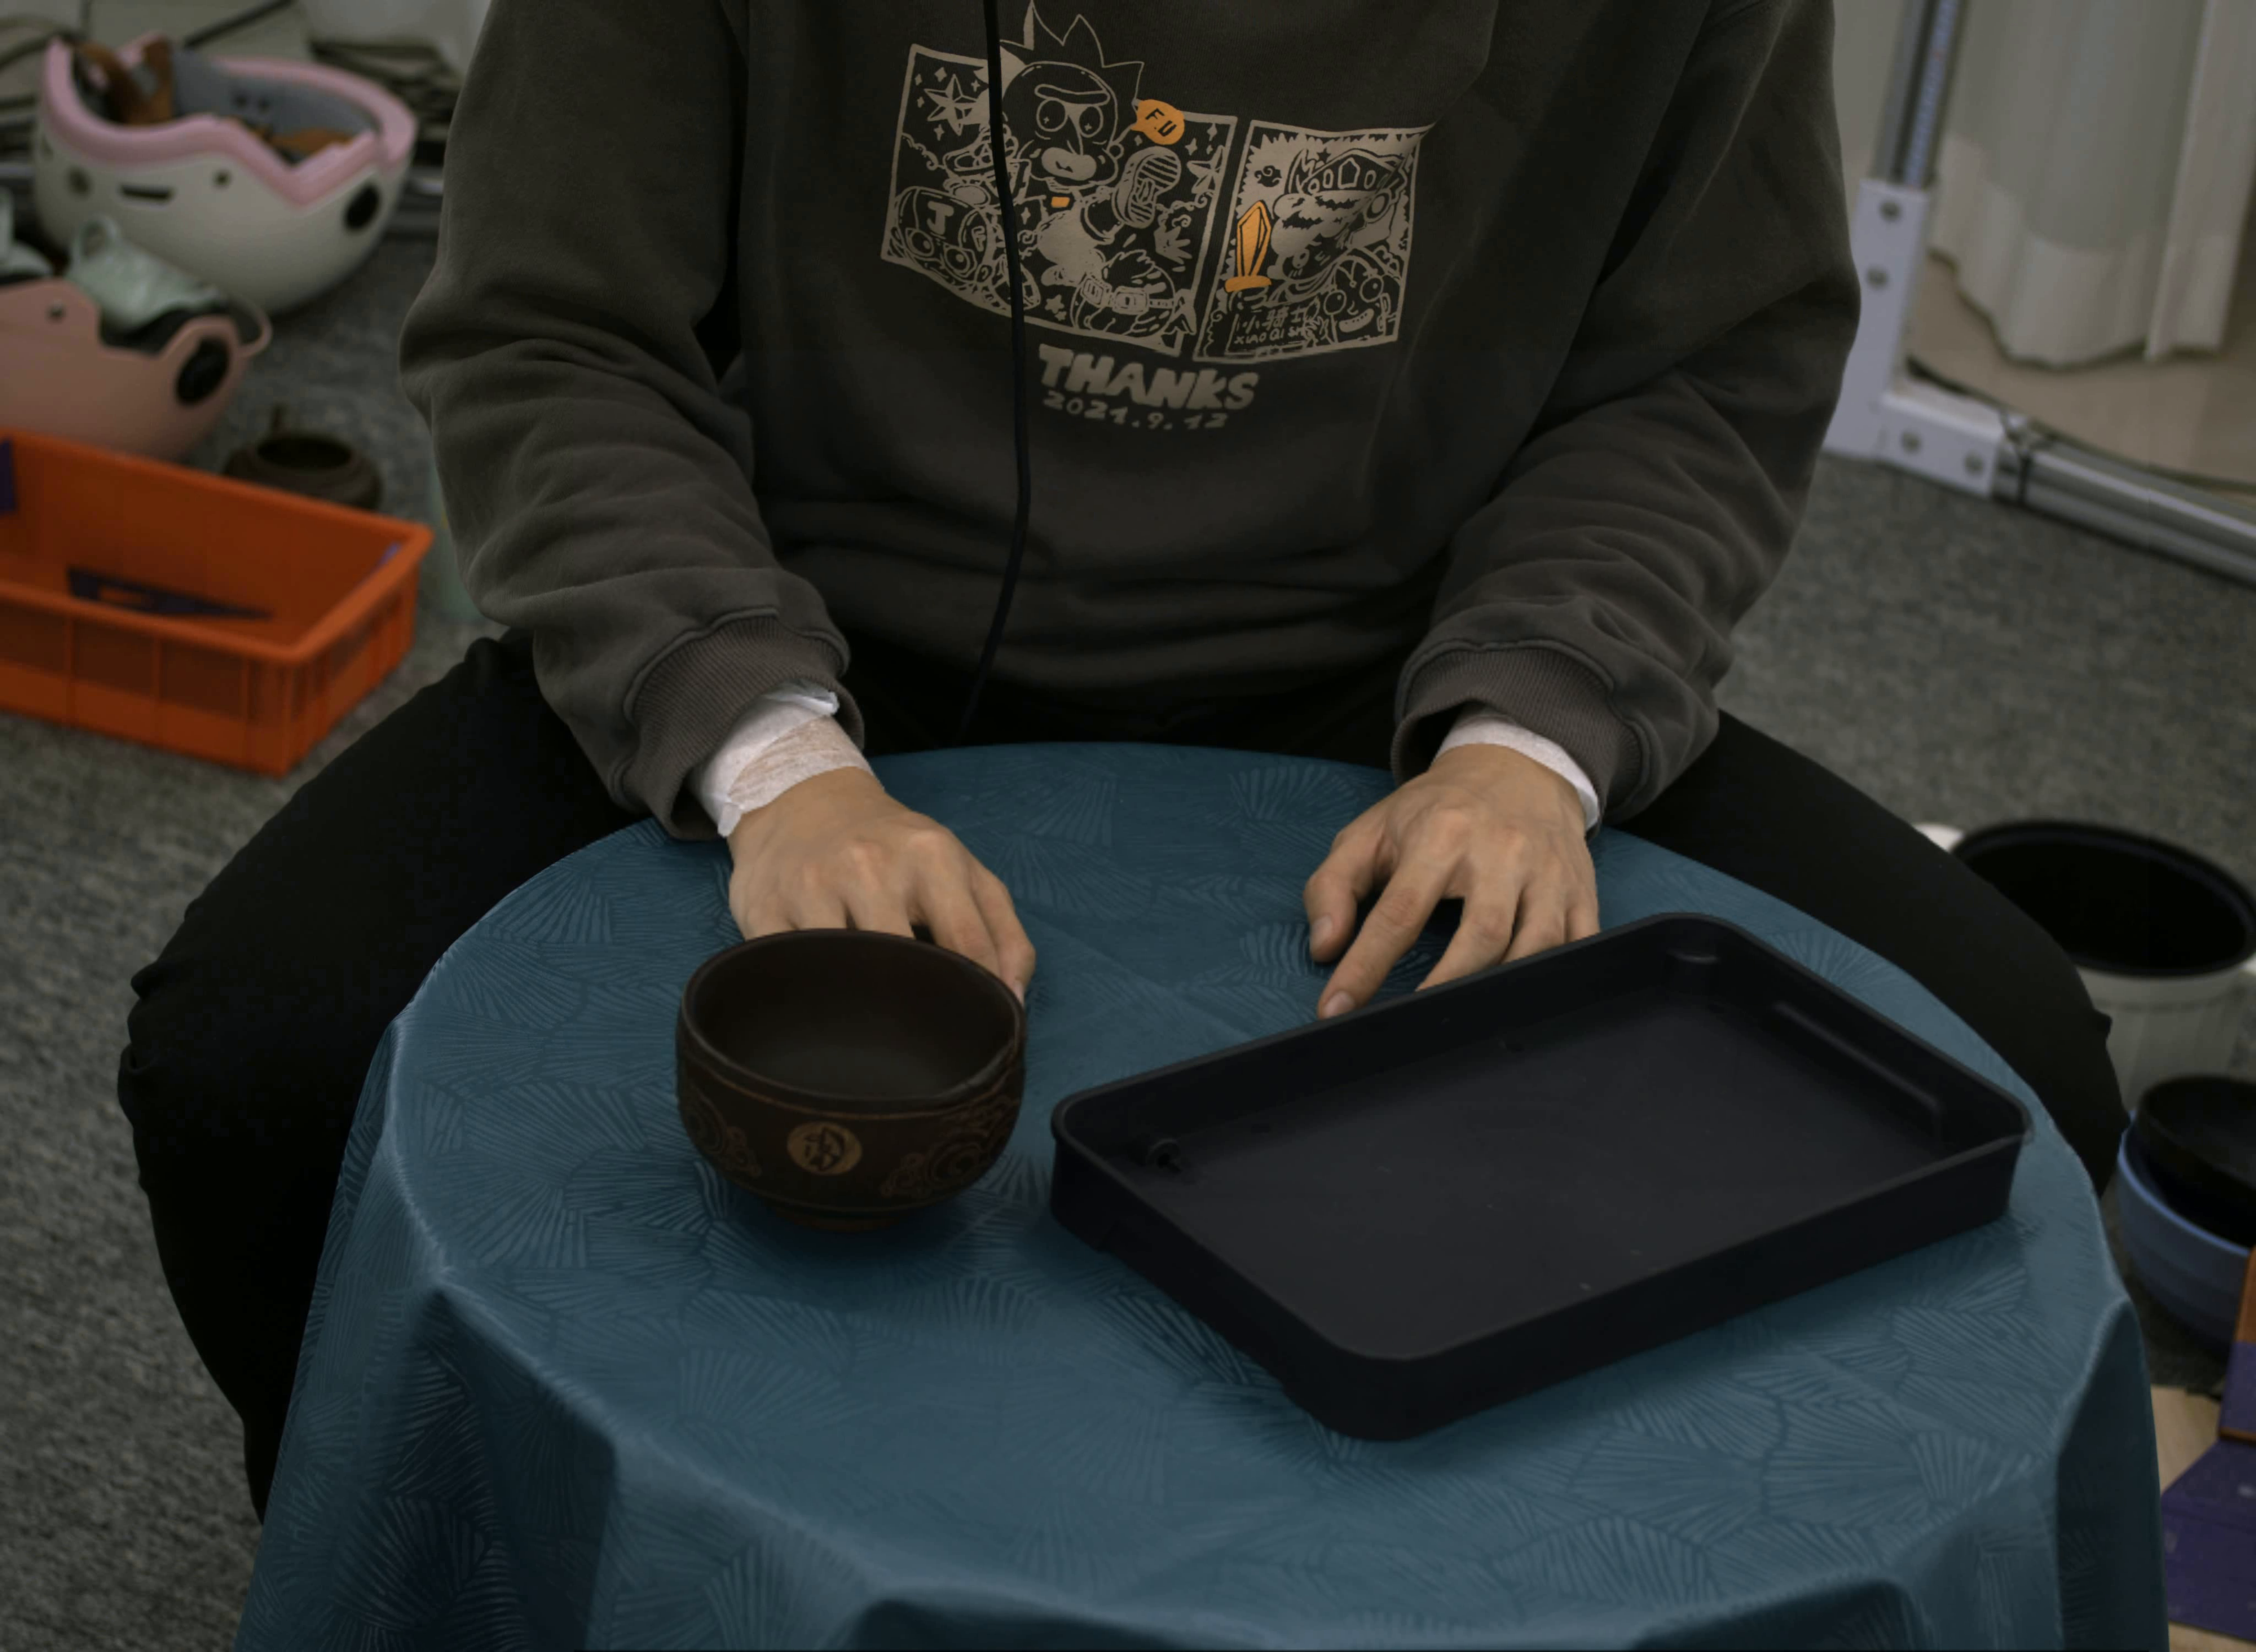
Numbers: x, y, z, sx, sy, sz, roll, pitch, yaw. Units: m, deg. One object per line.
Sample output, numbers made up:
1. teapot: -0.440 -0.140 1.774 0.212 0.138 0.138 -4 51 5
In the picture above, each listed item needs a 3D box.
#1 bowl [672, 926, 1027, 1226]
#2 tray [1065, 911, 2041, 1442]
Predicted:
1. bowl: -0.094 0.090 1.770 0.117 0.069 0.119 5 25 -3
2. tray: 0.146 0.113 1.818 0.316 0.037 0.186 -16 34 -37
